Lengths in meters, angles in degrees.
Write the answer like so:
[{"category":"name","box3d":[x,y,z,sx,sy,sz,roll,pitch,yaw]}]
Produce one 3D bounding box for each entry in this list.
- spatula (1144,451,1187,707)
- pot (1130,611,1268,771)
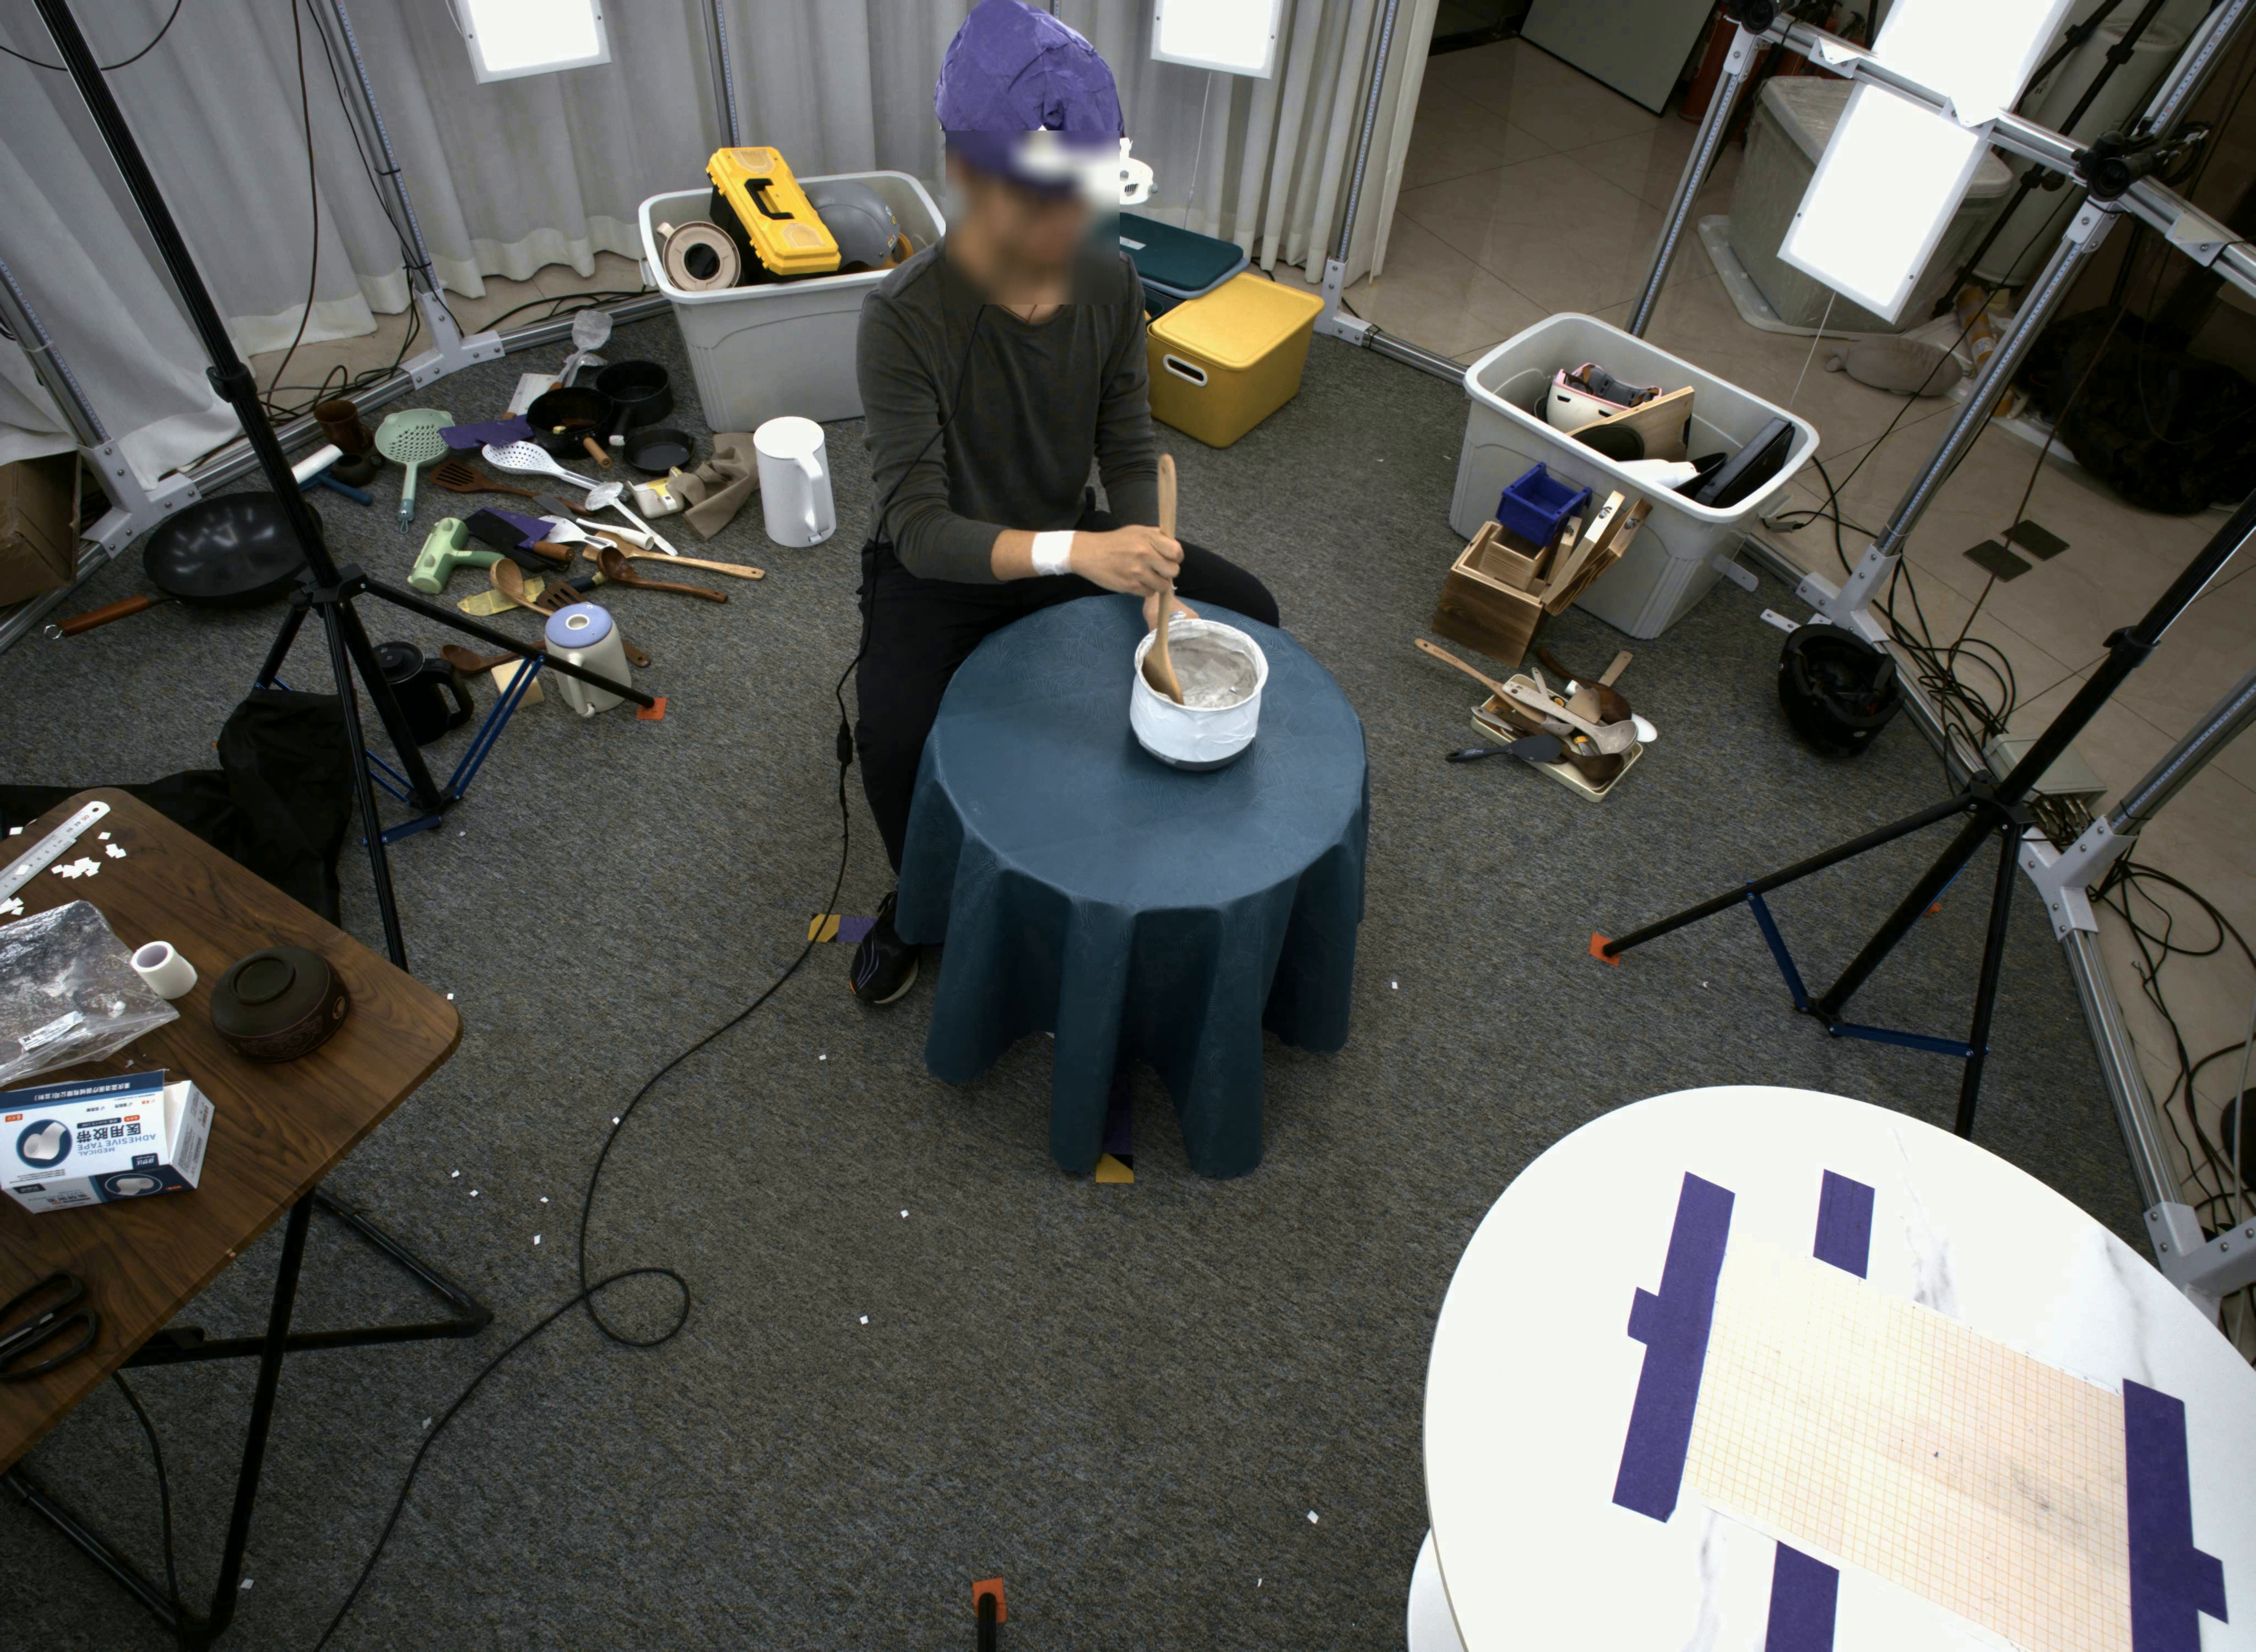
[{"category":"spatula","box3d":[0.050,-0.285,1.602,0.018,0.381,0.098,-23,48,-24]},{"category":"pot","box3d":[0.085,-0.194,1.753,0.178,0.133,0.239,-10,51,-13]}]
